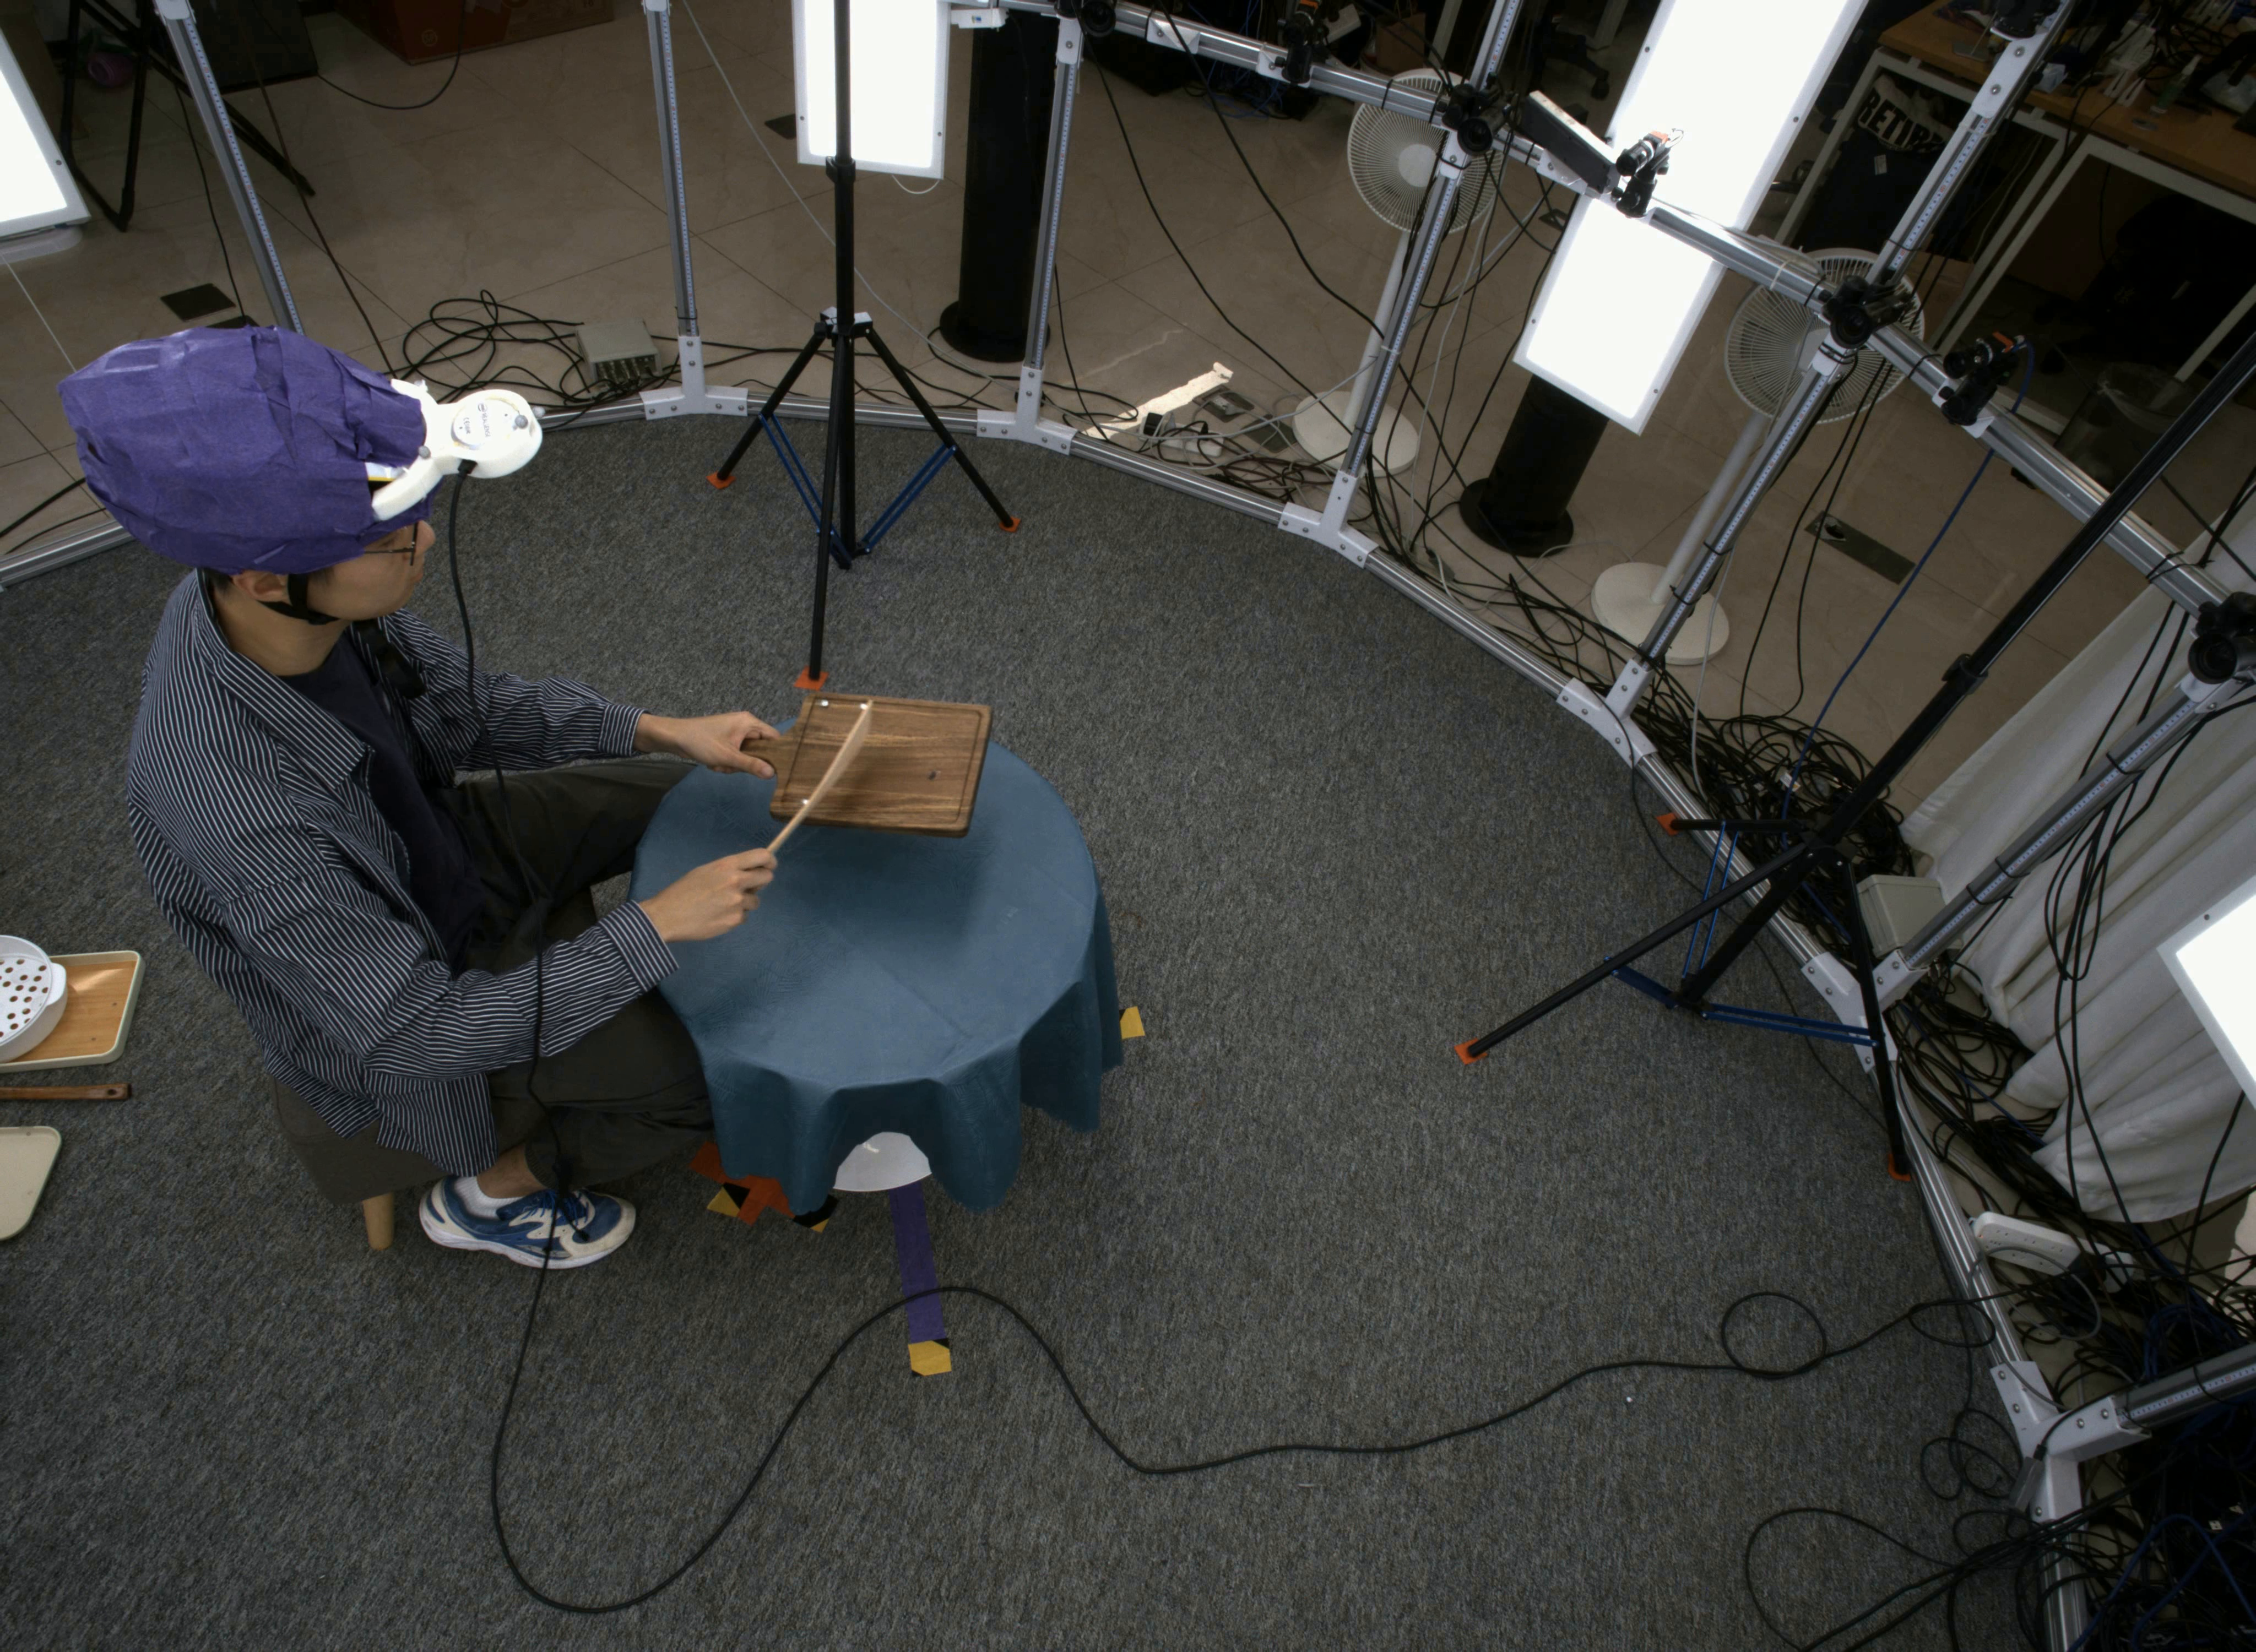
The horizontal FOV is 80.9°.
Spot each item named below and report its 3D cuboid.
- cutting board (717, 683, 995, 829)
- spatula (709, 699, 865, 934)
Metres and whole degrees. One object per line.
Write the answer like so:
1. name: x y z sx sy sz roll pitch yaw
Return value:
1. cutting board: -0.356 -0.097 1.660 0.347 0.024 0.198 6 58 3
2. spatula: -0.402 -0.010 1.547 0.016 0.080 0.327 32 70 3
